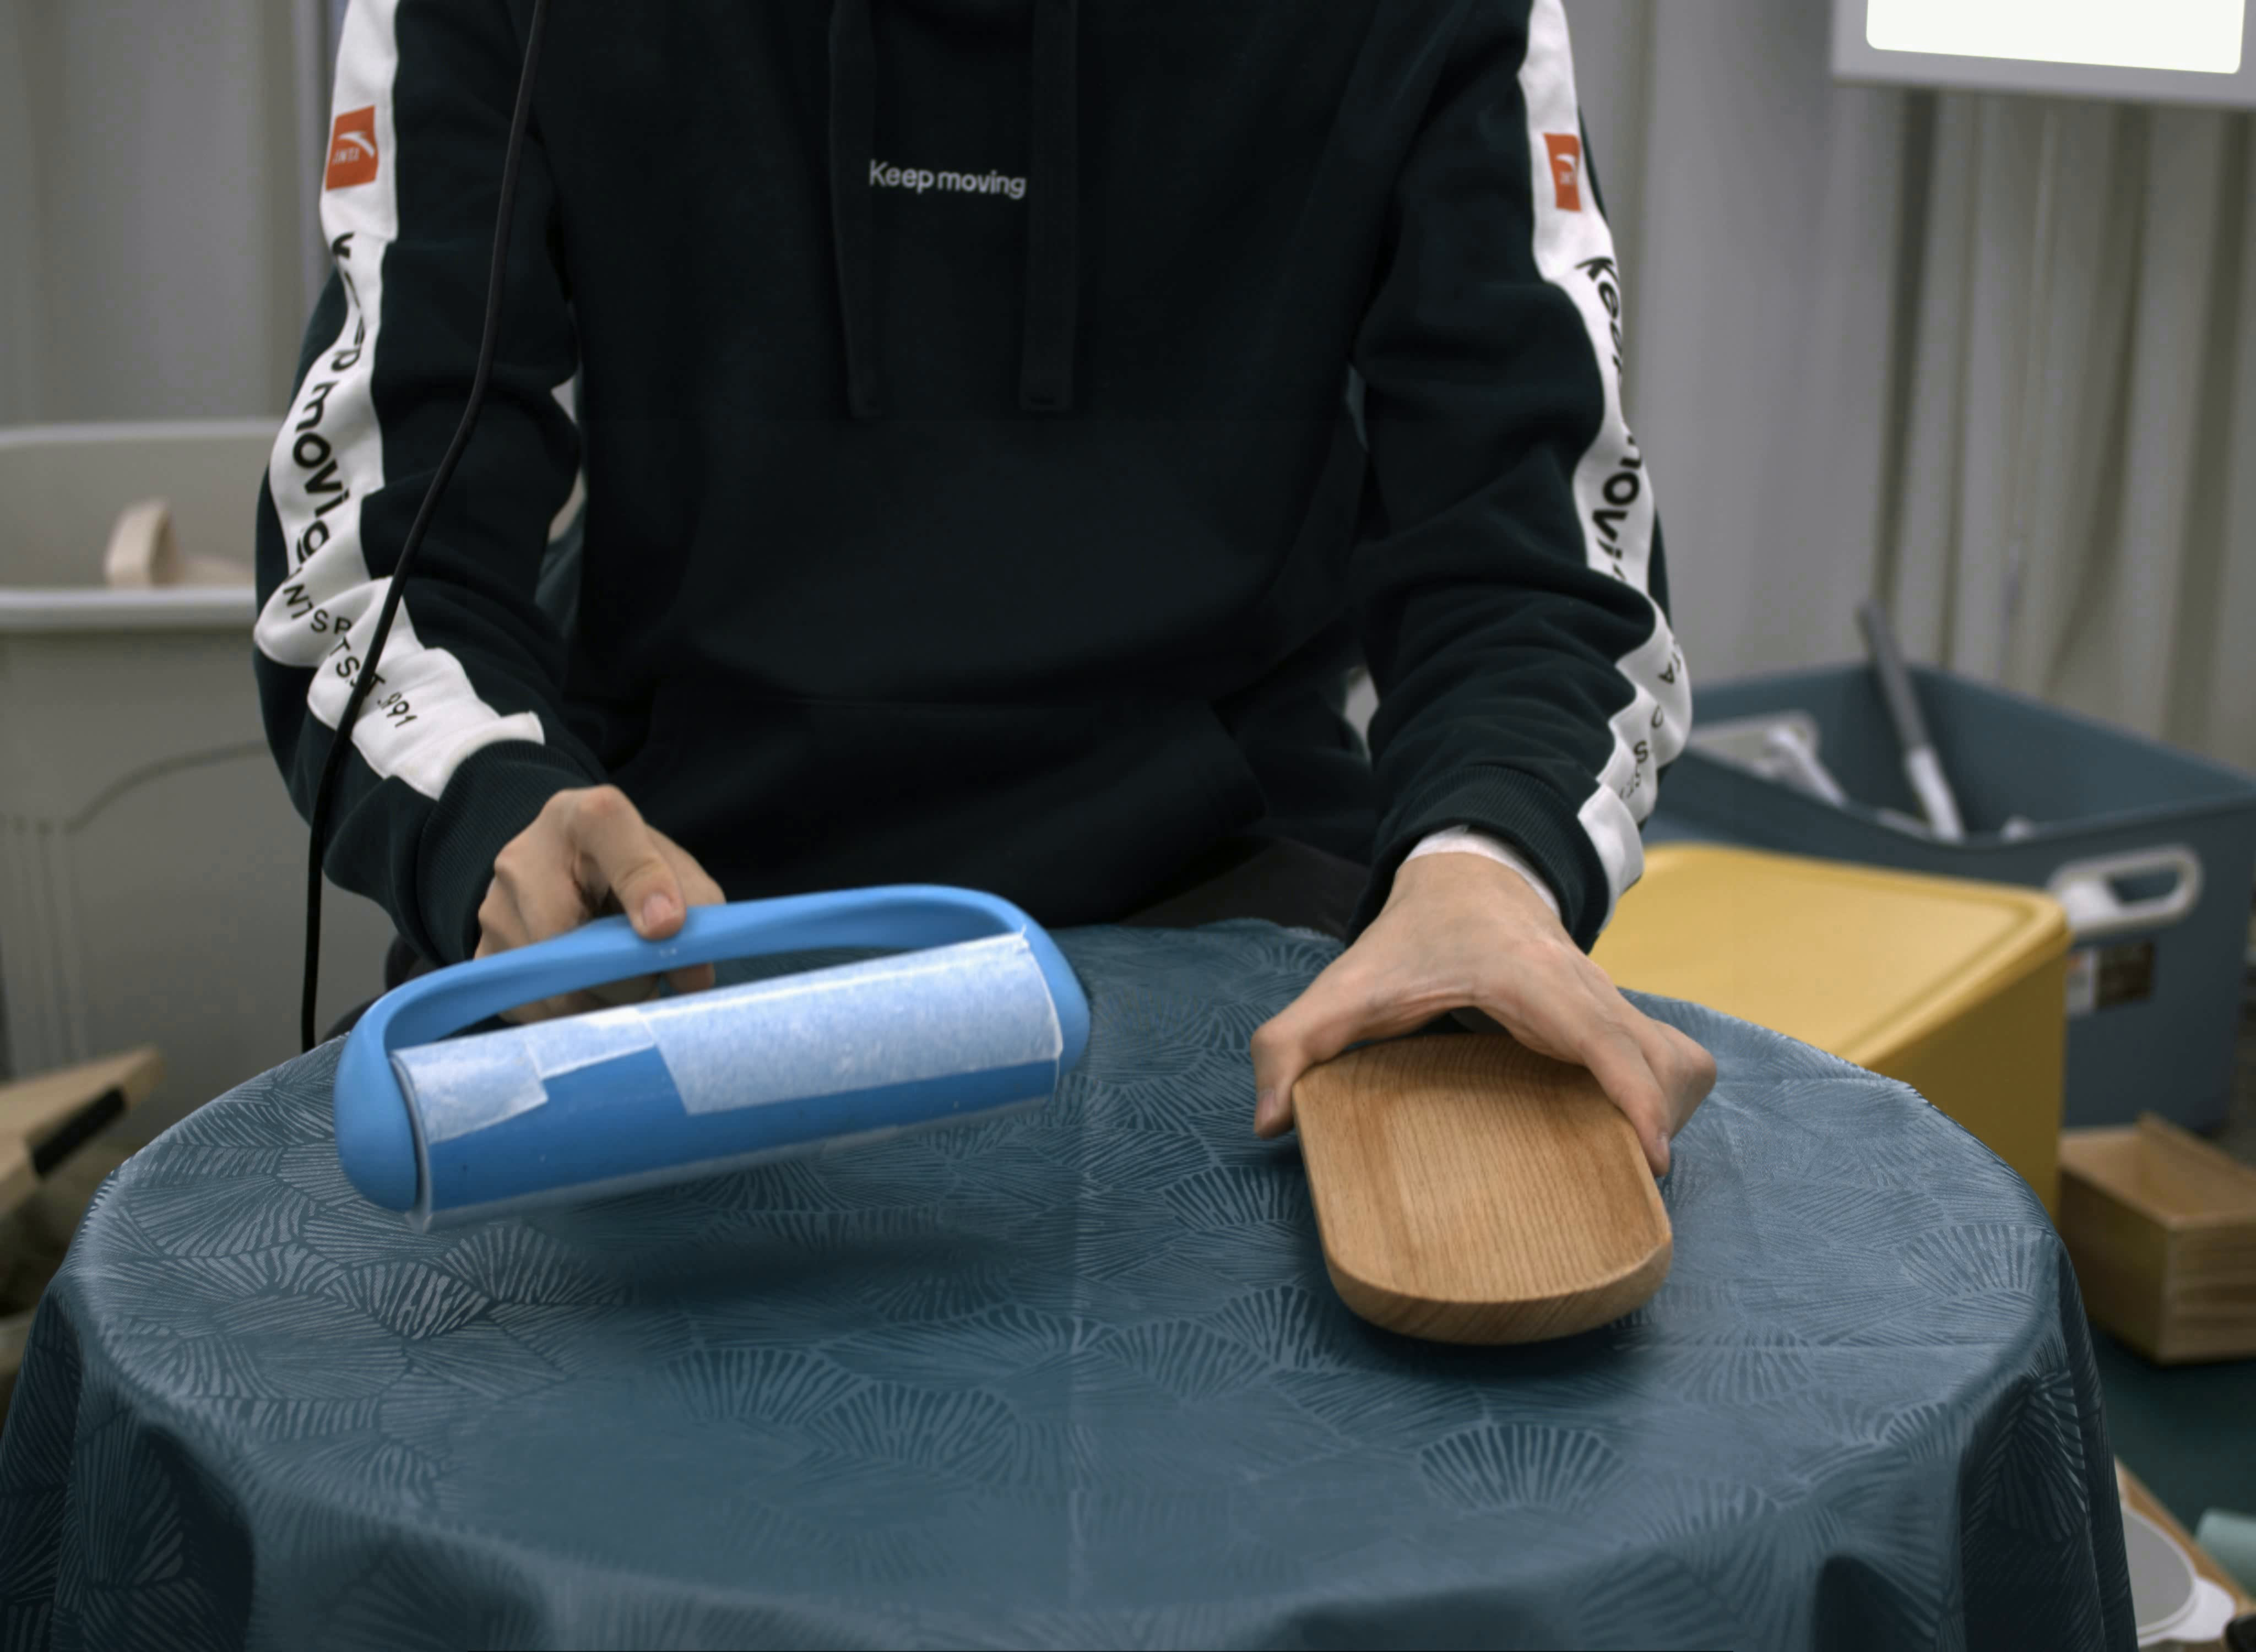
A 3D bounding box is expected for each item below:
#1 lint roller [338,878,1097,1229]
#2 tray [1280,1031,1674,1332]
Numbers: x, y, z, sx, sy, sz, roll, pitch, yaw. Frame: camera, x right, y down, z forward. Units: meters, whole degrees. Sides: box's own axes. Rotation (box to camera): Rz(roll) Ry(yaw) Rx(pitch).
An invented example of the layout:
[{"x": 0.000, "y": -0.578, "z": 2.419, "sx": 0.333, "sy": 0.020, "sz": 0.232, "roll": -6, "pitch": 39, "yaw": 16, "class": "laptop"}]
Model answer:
[{"x": -0.141, "y": 0.055, "z": 1.576, "sx": 0.229, "sy": 0.068, "sz": 0.178, "roll": -13, "pitch": 20, "yaw": -23, "class": "lint roller"}, {"x": 0.102, "y": 0.103, "z": 1.573, "sx": 0.101, "sy": 0.020, "sz": 0.229, "roll": -3, "pitch": 15, "yaw": -3, "class": "tray"}]
